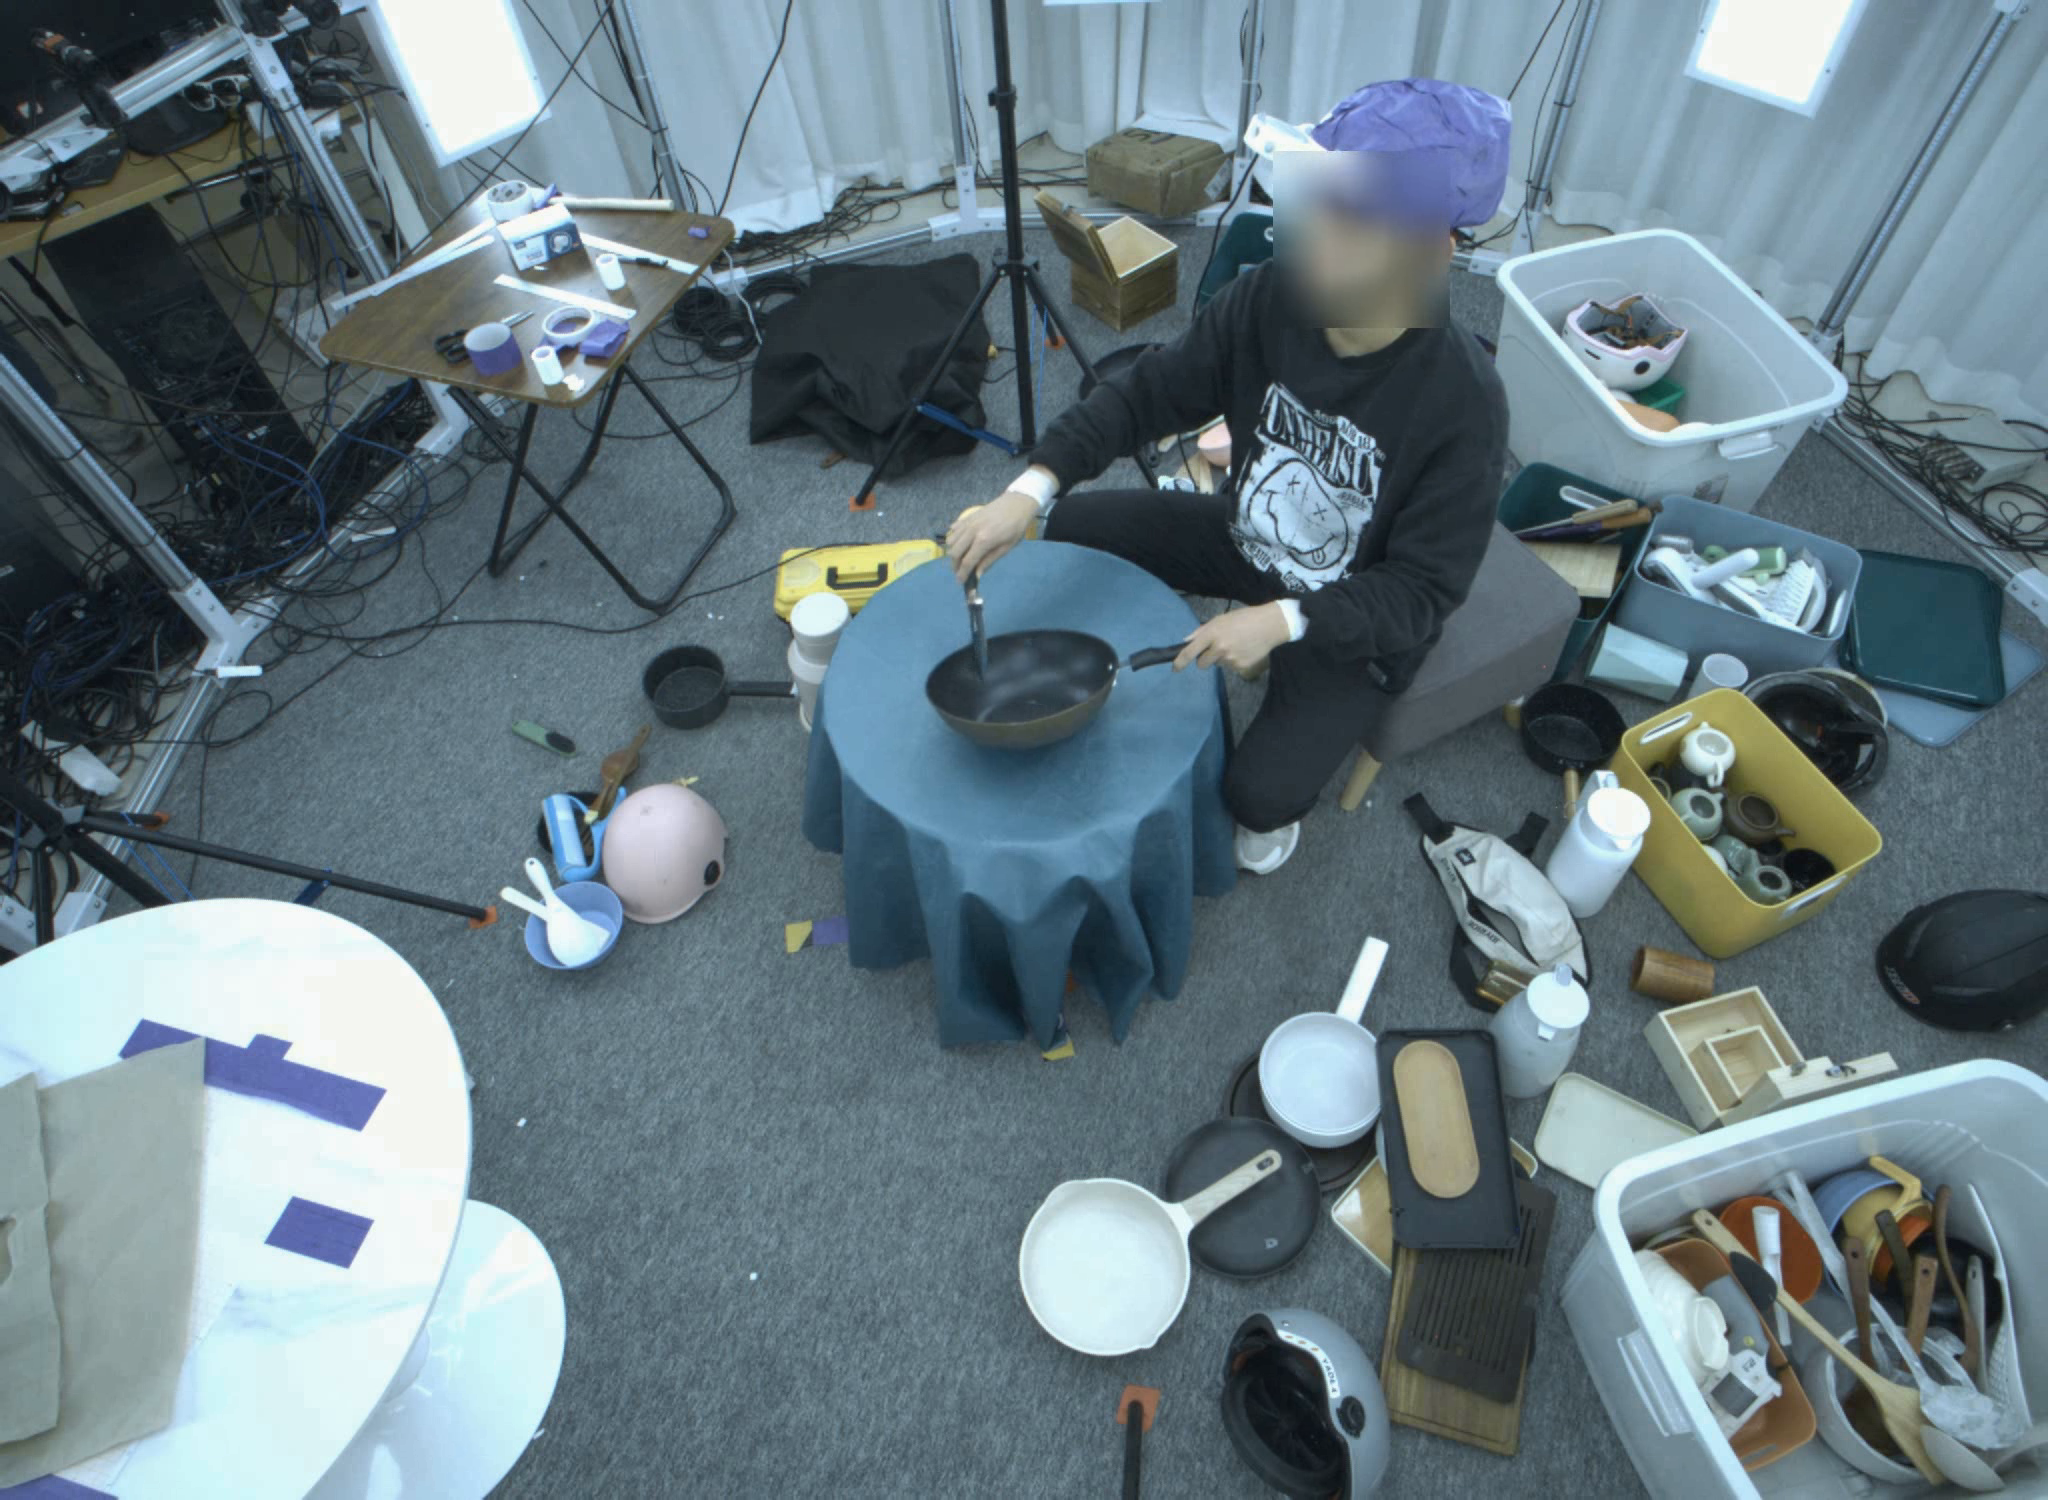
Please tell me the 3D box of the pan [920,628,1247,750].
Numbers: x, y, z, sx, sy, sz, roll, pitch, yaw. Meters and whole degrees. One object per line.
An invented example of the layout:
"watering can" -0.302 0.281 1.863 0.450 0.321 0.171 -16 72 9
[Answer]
"pan" 0.087 -0.090 1.758 0.463 0.088 0.284 -8 31 0

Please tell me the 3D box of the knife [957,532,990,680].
"knife" -0.076 -0.215 1.831 0.026 0.017 0.226 -9 93 -8
